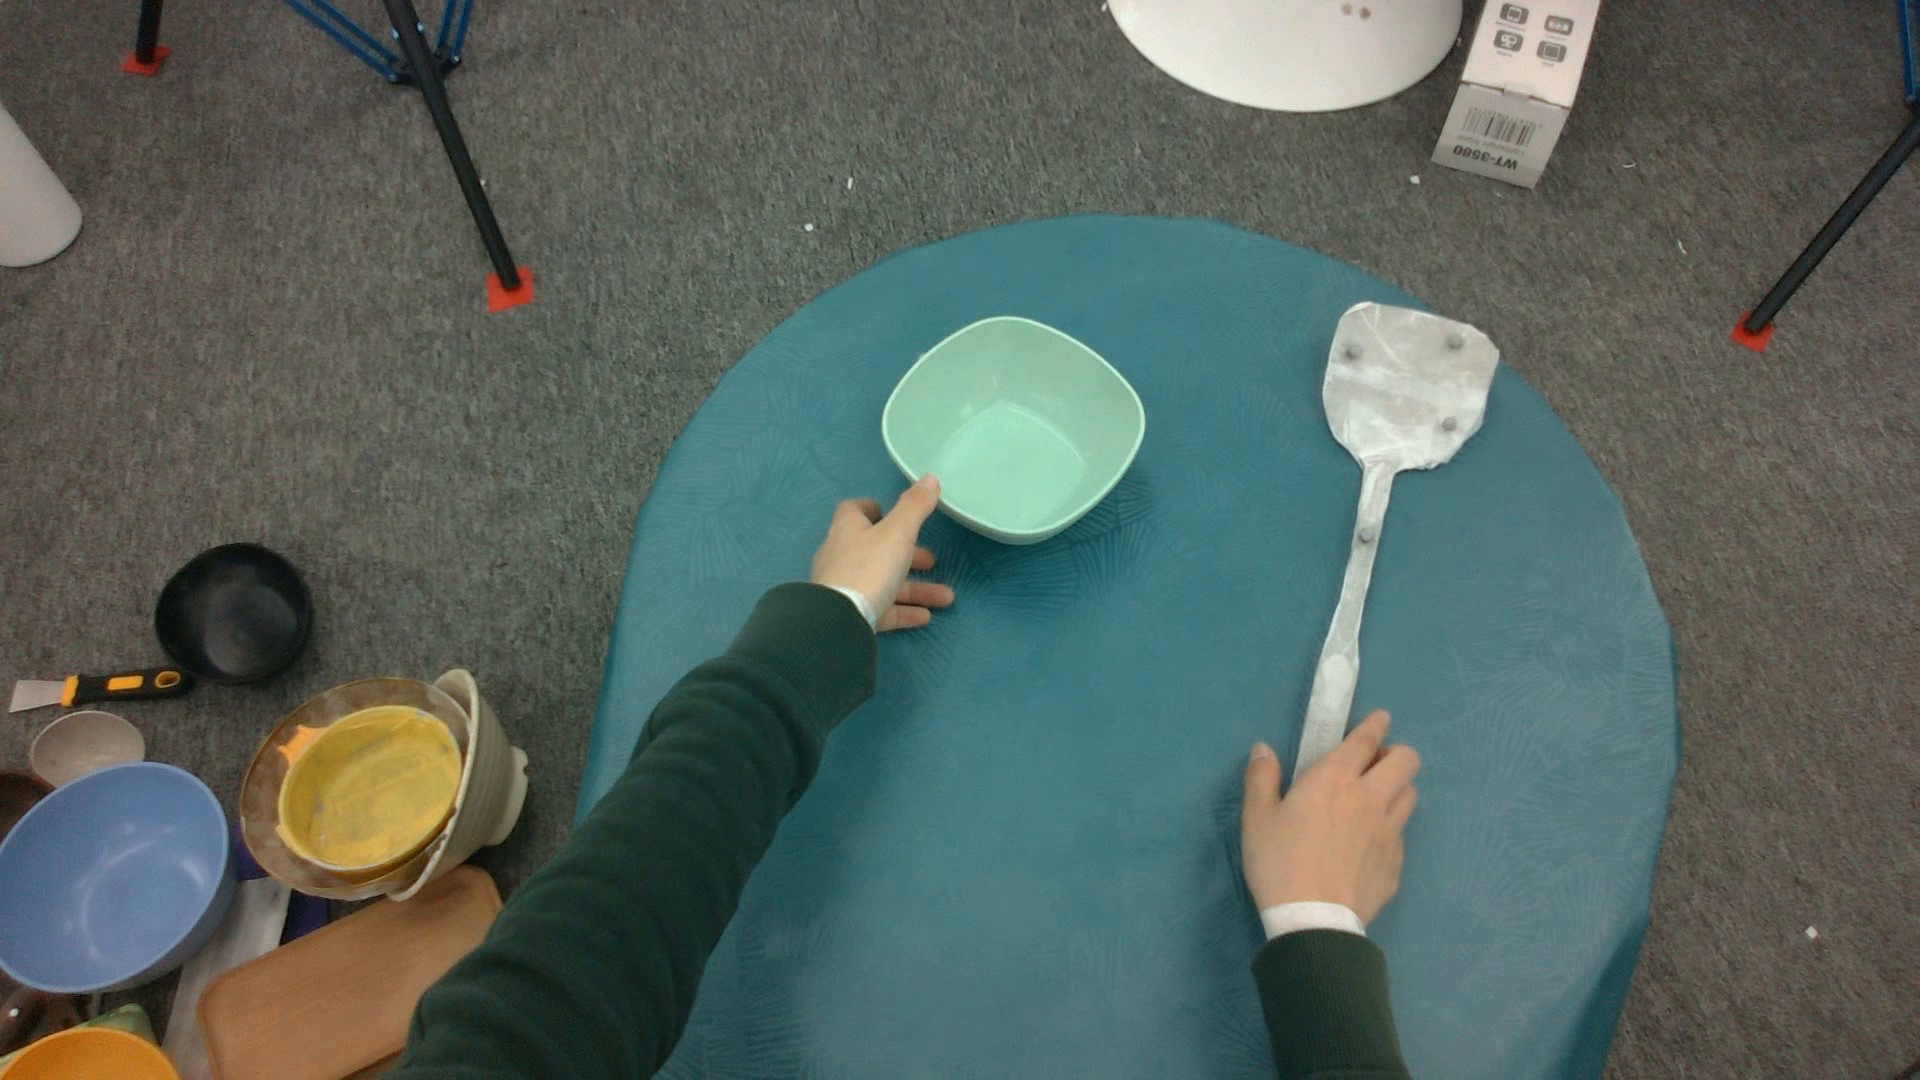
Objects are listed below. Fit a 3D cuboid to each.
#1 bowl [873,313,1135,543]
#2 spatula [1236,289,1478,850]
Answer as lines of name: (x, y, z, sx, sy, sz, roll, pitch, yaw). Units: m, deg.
bowl: (0.026, -0.057, 0.812, 0.151, 0.058, 0.152, 0, 63, 1)
spatula: (0.217, 0.007, 0.786, 0.098, 0.044, 0.366, 19, 61, 6)
